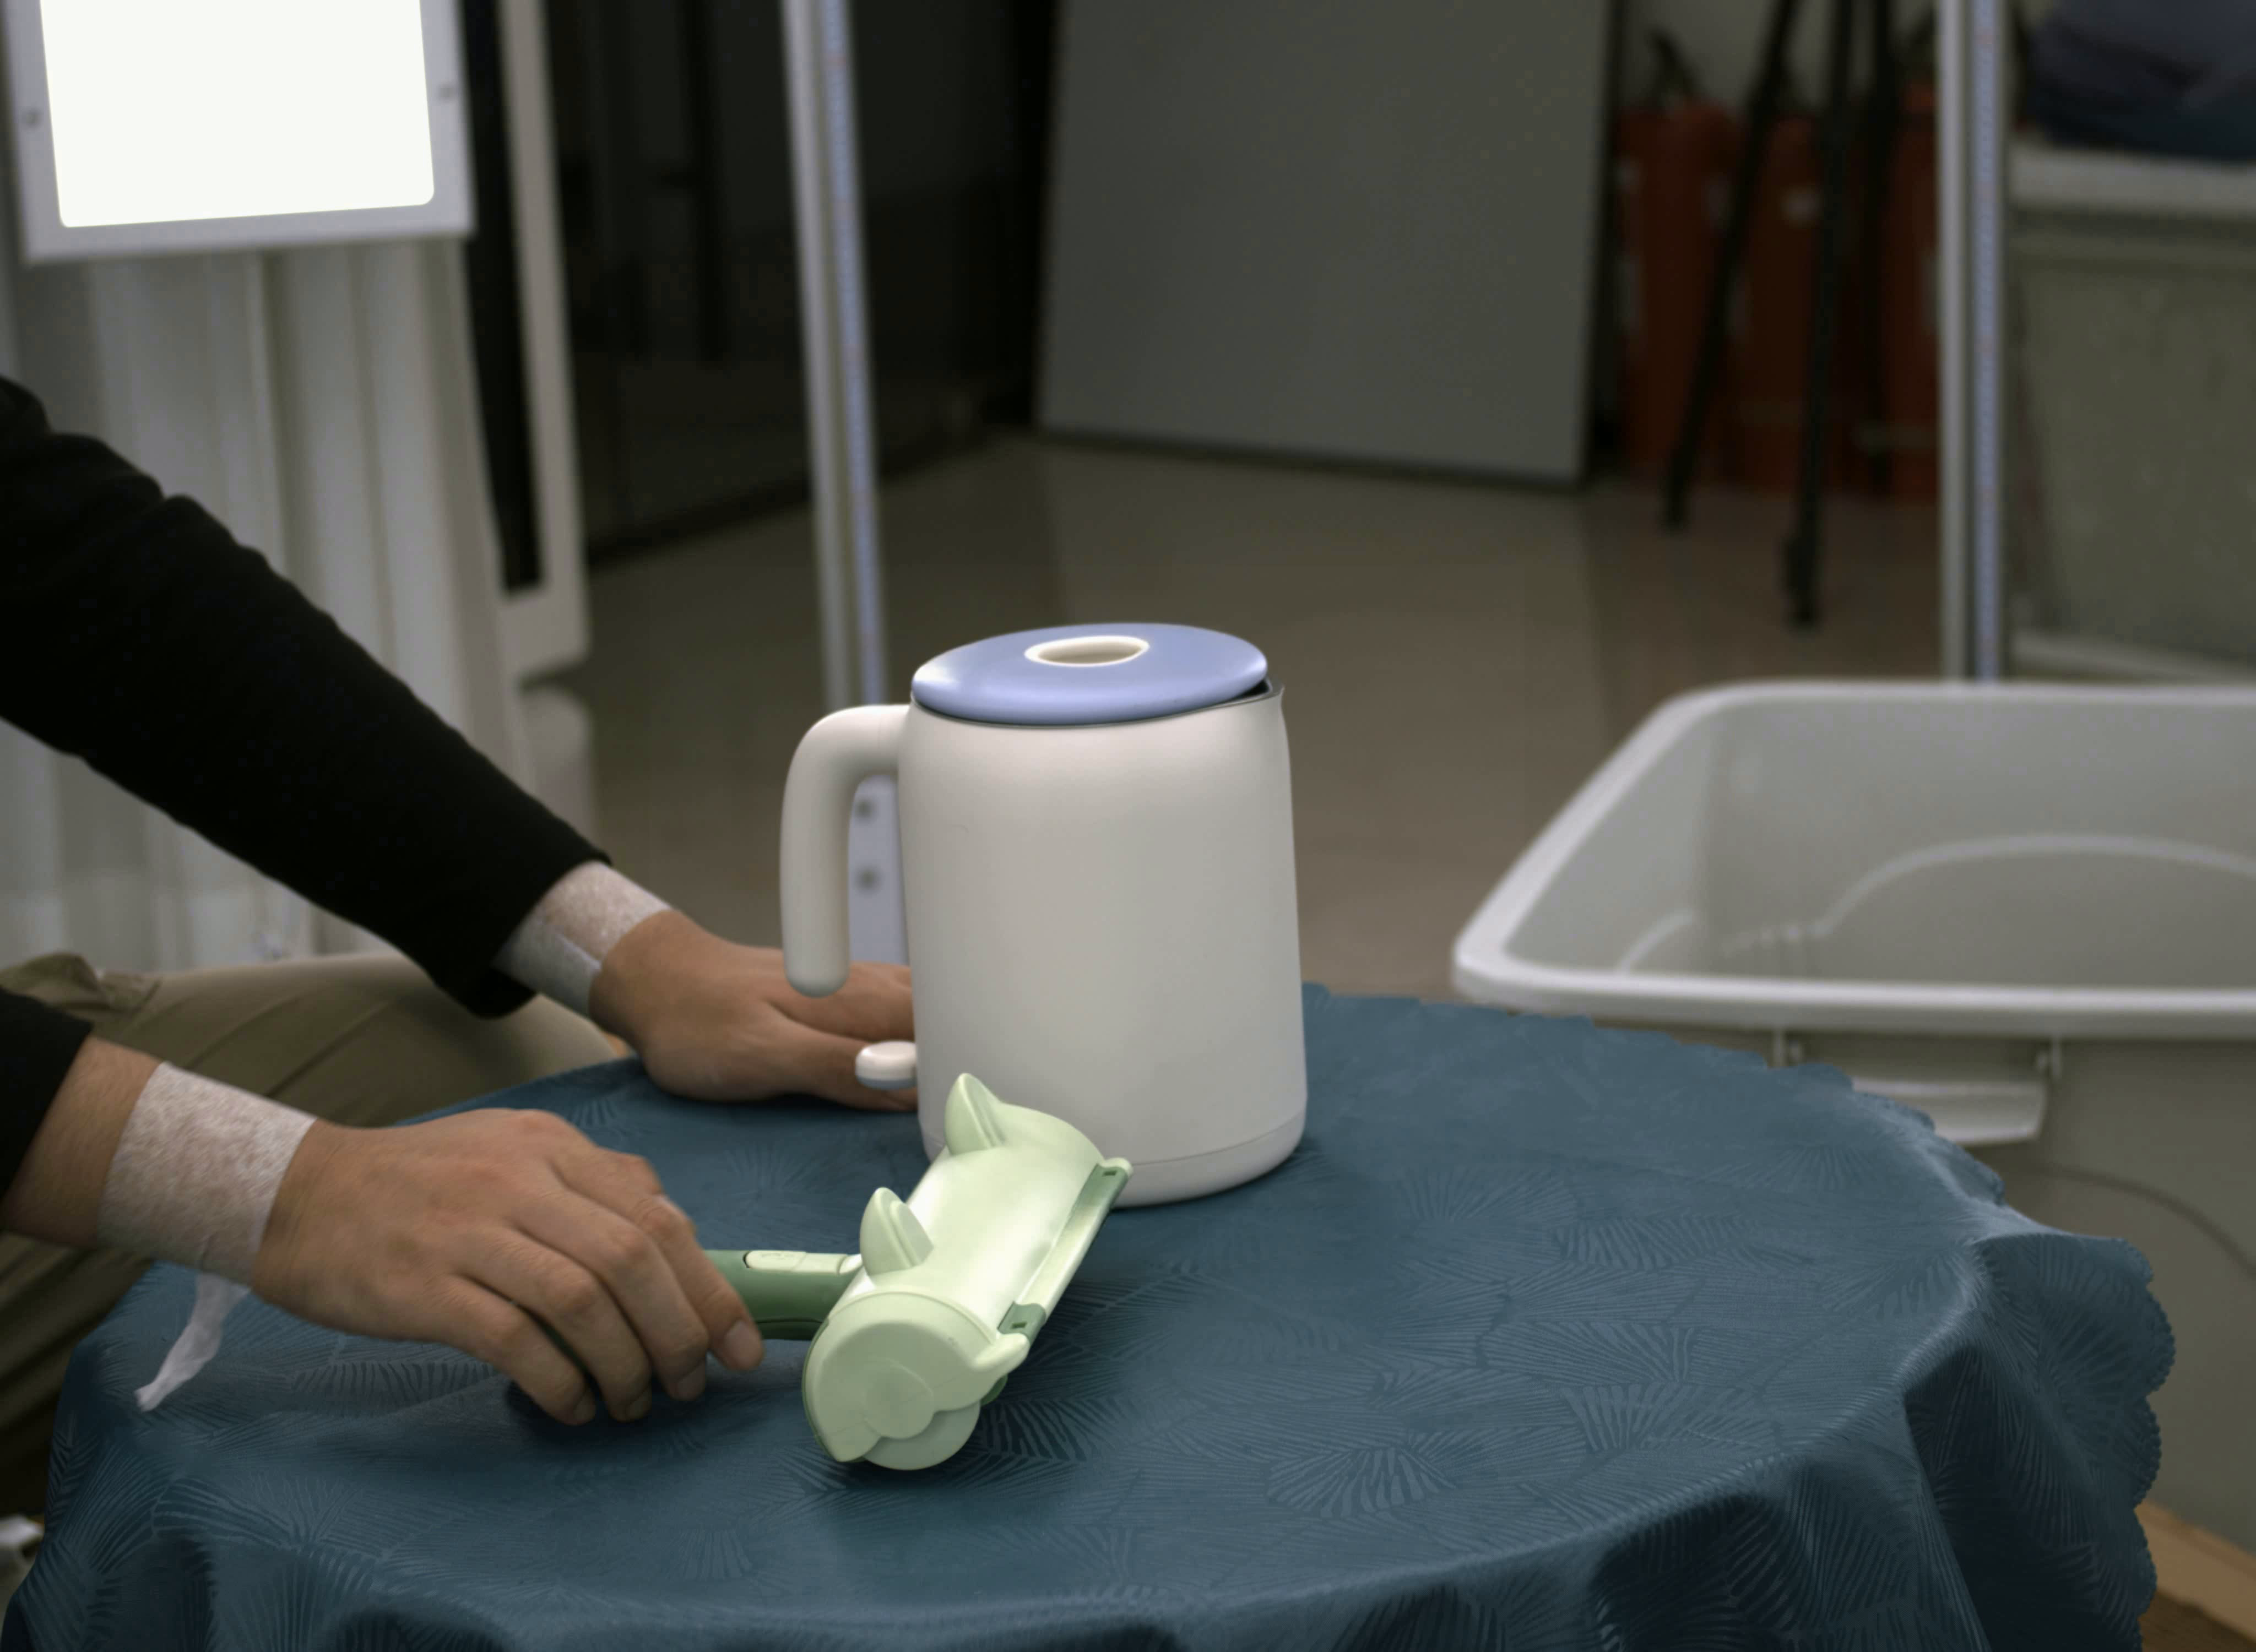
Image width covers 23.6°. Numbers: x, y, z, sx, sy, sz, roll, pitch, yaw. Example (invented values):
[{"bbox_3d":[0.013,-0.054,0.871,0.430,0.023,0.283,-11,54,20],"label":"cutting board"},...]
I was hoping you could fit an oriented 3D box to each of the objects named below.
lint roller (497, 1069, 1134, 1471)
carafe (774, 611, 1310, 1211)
[{"bbox_3d":[-0.102,0.127,1.614,0.182,0.083,0.197,1,13,11],"label":"lint roller"},{"bbox_3d":[-0.031,0.028,1.798,0.191,0.184,0.131,0,13,23],"label":"carafe"}]
